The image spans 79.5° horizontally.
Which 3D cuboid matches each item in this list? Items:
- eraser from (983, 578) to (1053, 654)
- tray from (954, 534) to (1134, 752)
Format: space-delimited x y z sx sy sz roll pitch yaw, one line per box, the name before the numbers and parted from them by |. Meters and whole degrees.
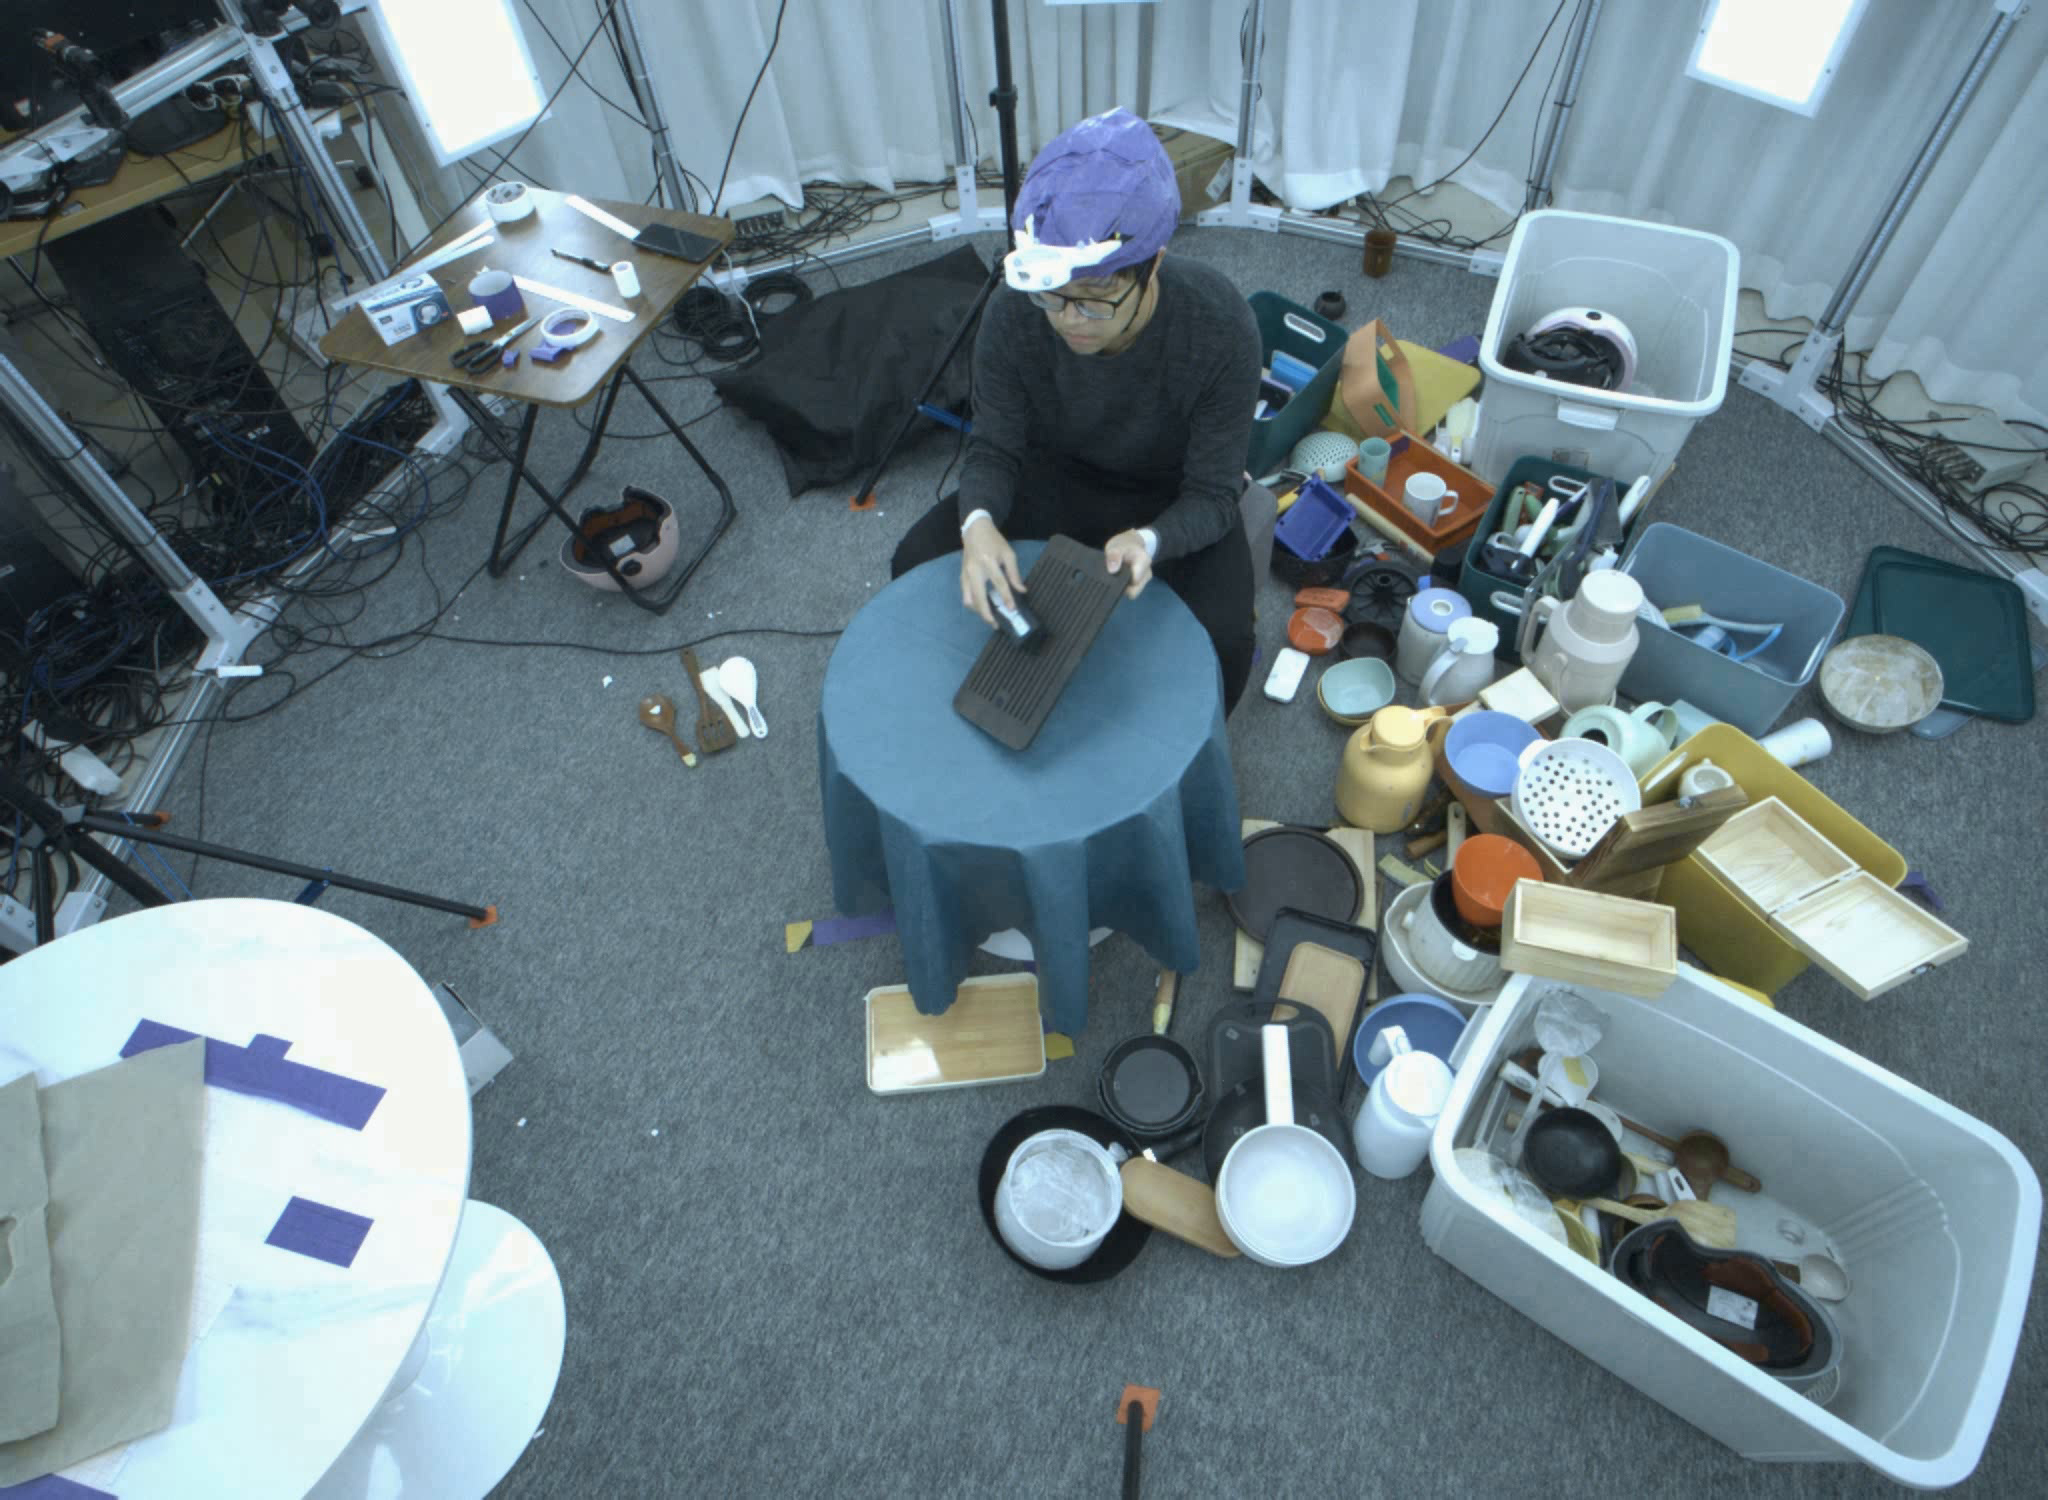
eraser | -0.009 -0.197 1.796 0.053 0.031 0.123 -45 52 9
tray | 0.028 -0.157 1.782 0.166 0.019 0.306 33 93 37
